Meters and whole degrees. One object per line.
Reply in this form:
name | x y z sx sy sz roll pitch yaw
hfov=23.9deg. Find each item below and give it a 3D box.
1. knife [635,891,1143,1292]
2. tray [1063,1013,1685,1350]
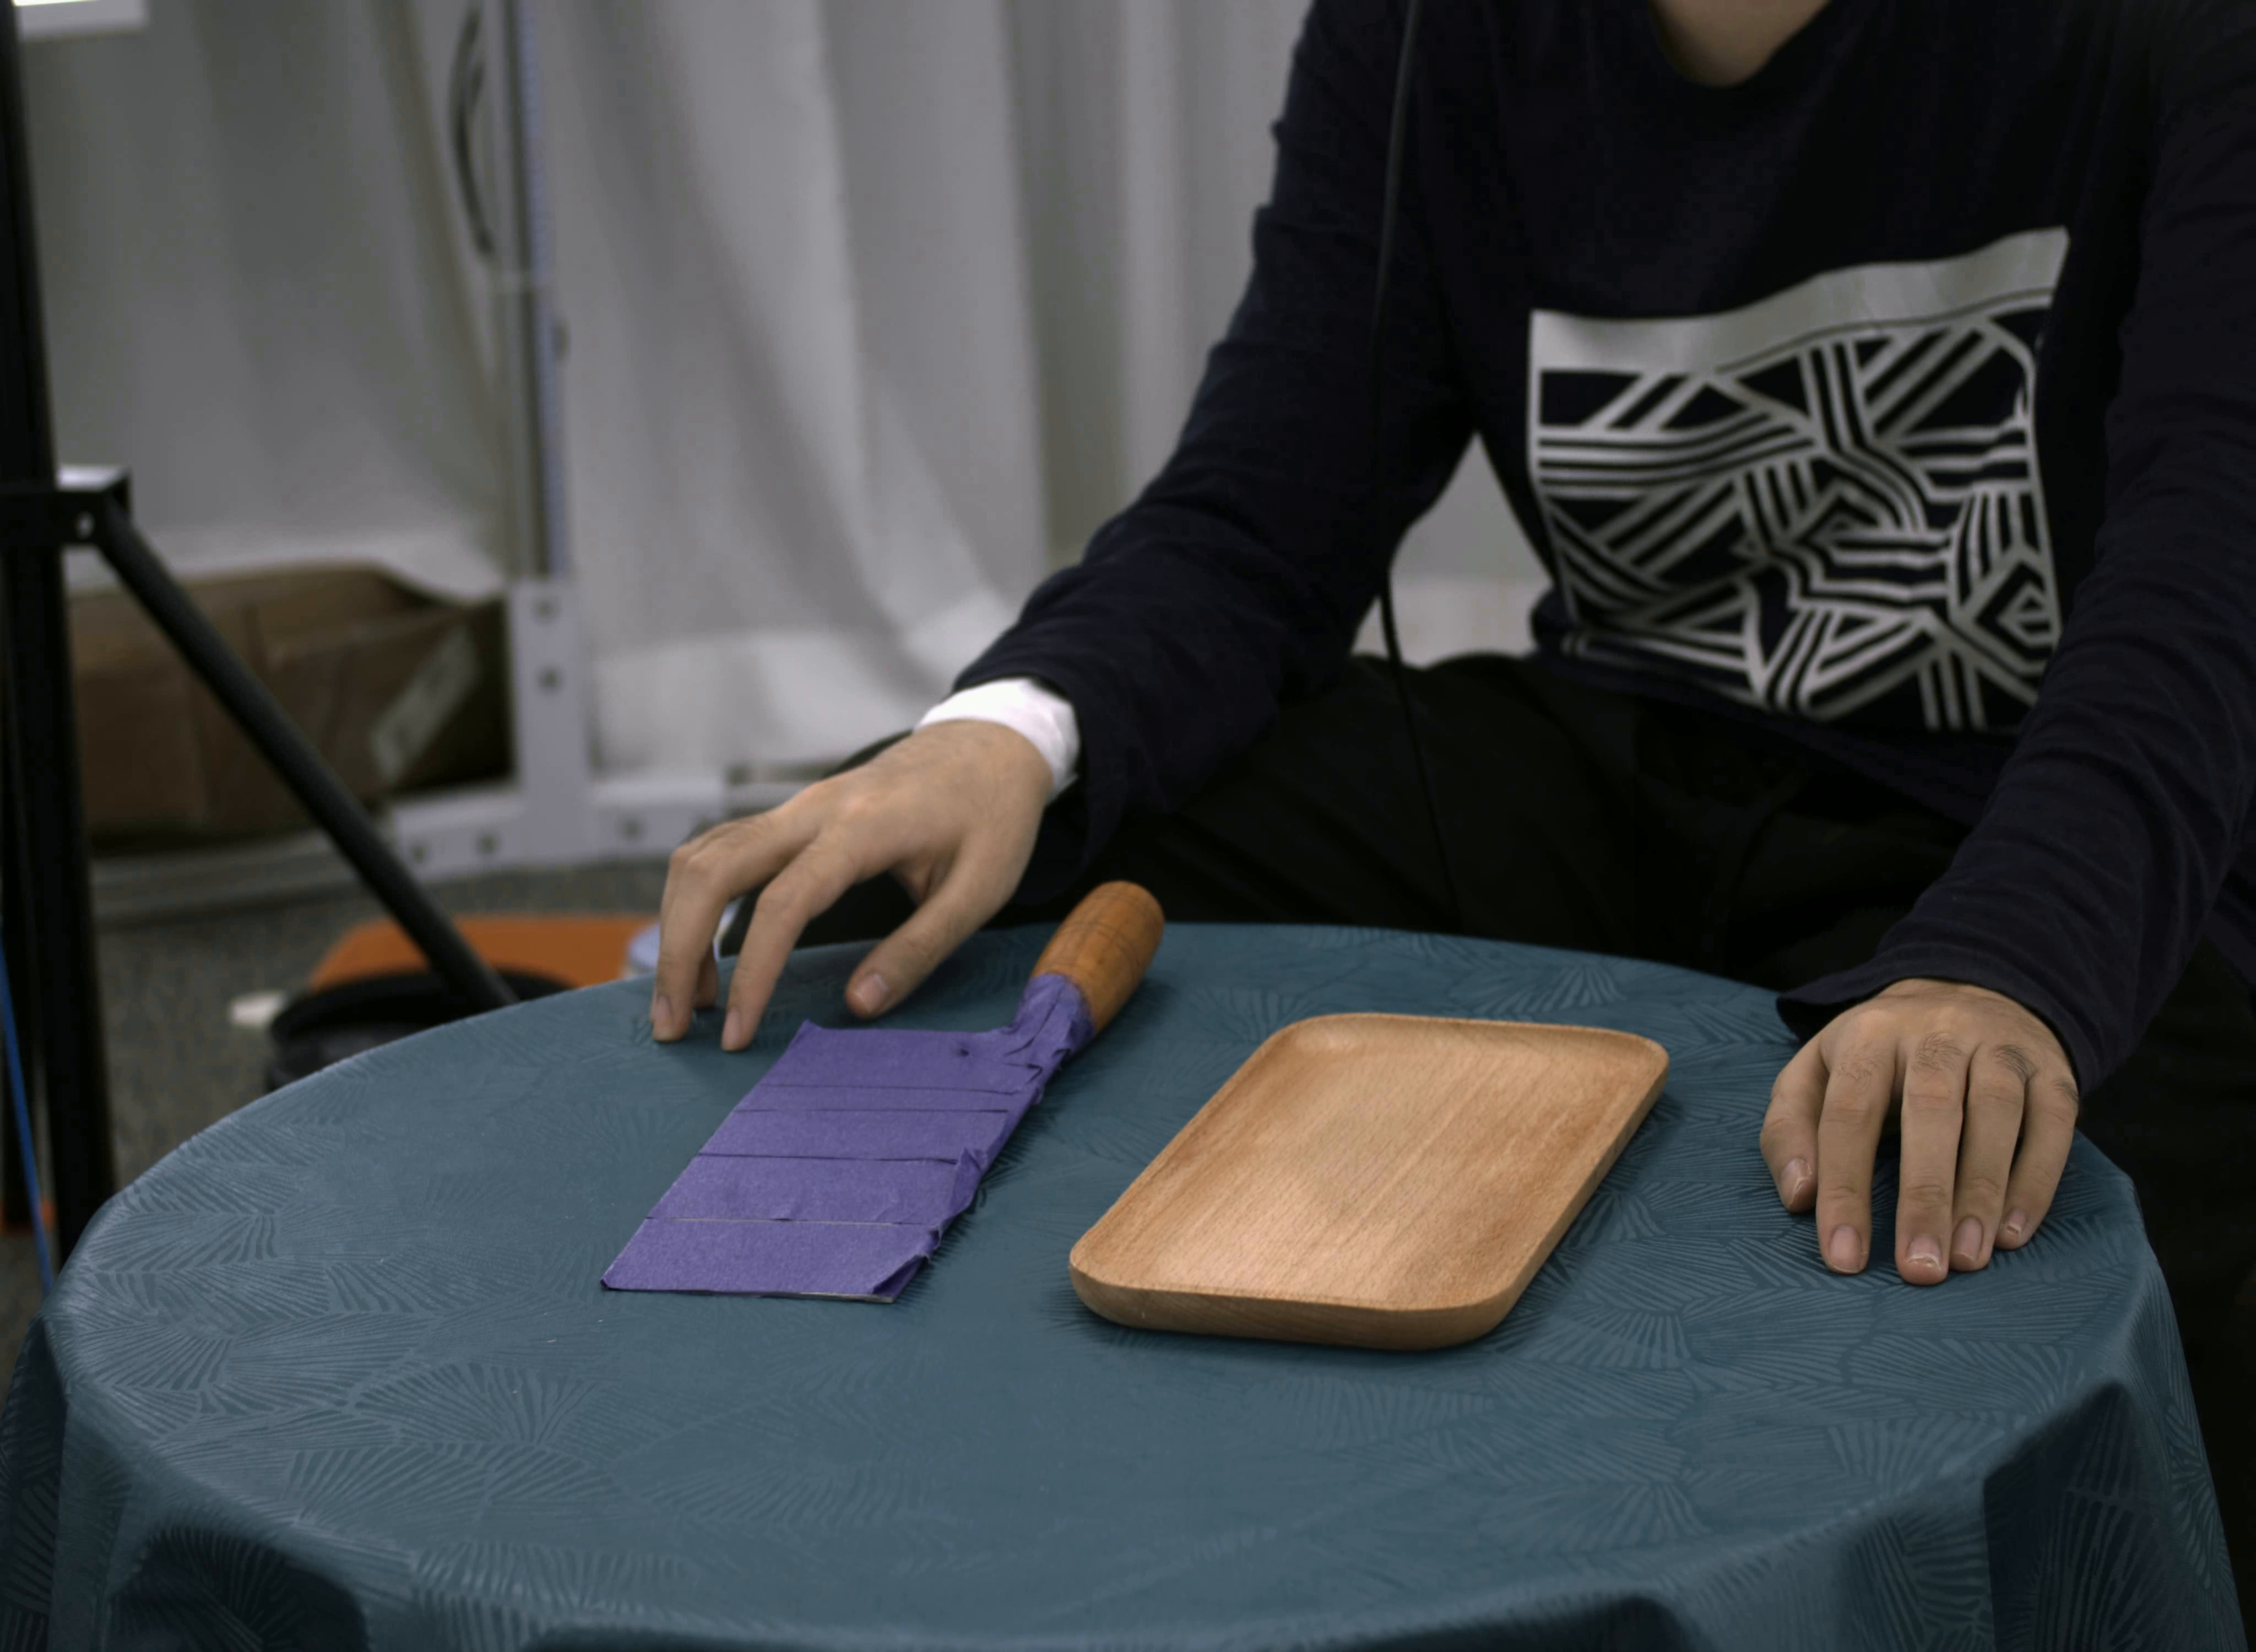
knife | -0.070 0.078 1.630 0.104 0.032 0.313 1 17 13
tray | 0.076 0.101 1.546 0.132 0.023 0.247 6 17 20
